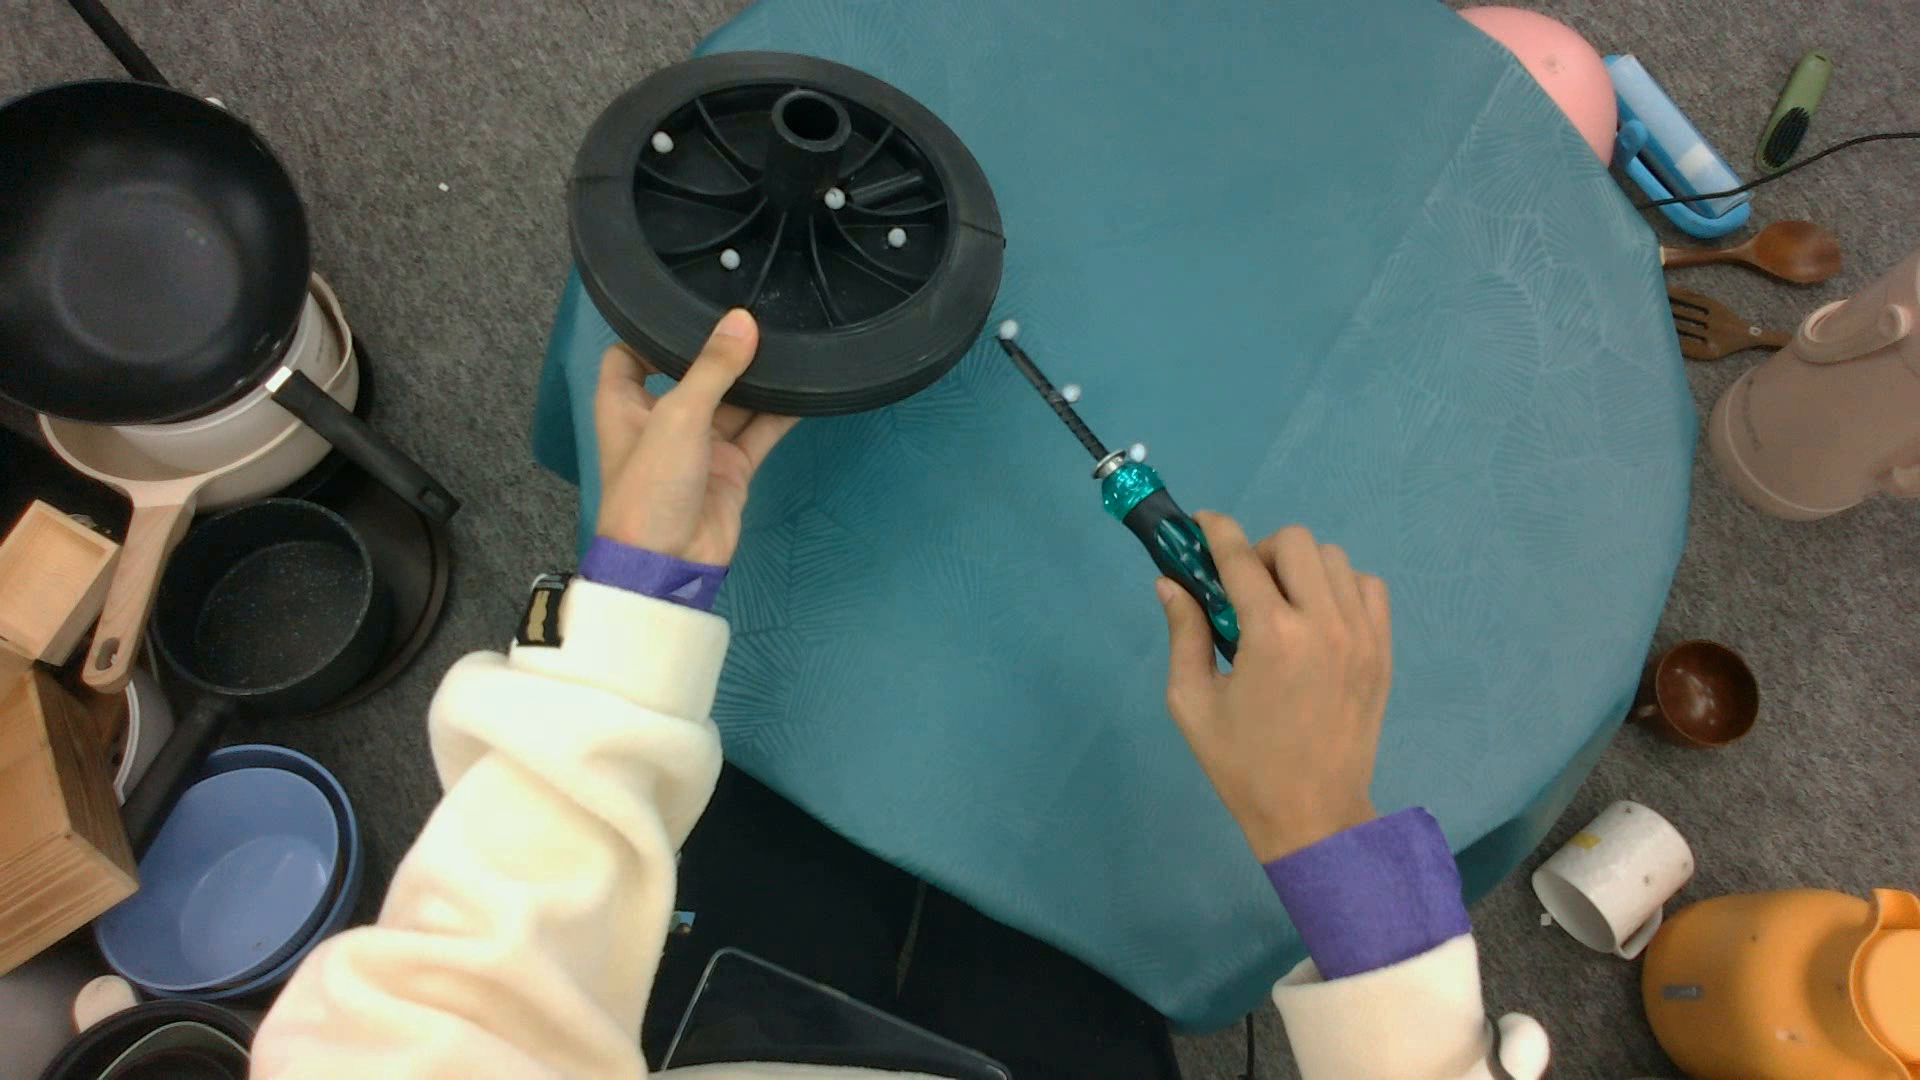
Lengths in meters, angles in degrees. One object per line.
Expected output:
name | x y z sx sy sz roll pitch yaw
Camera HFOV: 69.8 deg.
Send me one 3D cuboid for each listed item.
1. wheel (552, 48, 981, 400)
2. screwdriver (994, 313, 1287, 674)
wheel | -0.076 -0.154 0.587 0.187 0.079 0.191 35 56 5
screwdriver | 0.069 -0.026 0.570 0.034 0.033 0.190 -31 69 -13
